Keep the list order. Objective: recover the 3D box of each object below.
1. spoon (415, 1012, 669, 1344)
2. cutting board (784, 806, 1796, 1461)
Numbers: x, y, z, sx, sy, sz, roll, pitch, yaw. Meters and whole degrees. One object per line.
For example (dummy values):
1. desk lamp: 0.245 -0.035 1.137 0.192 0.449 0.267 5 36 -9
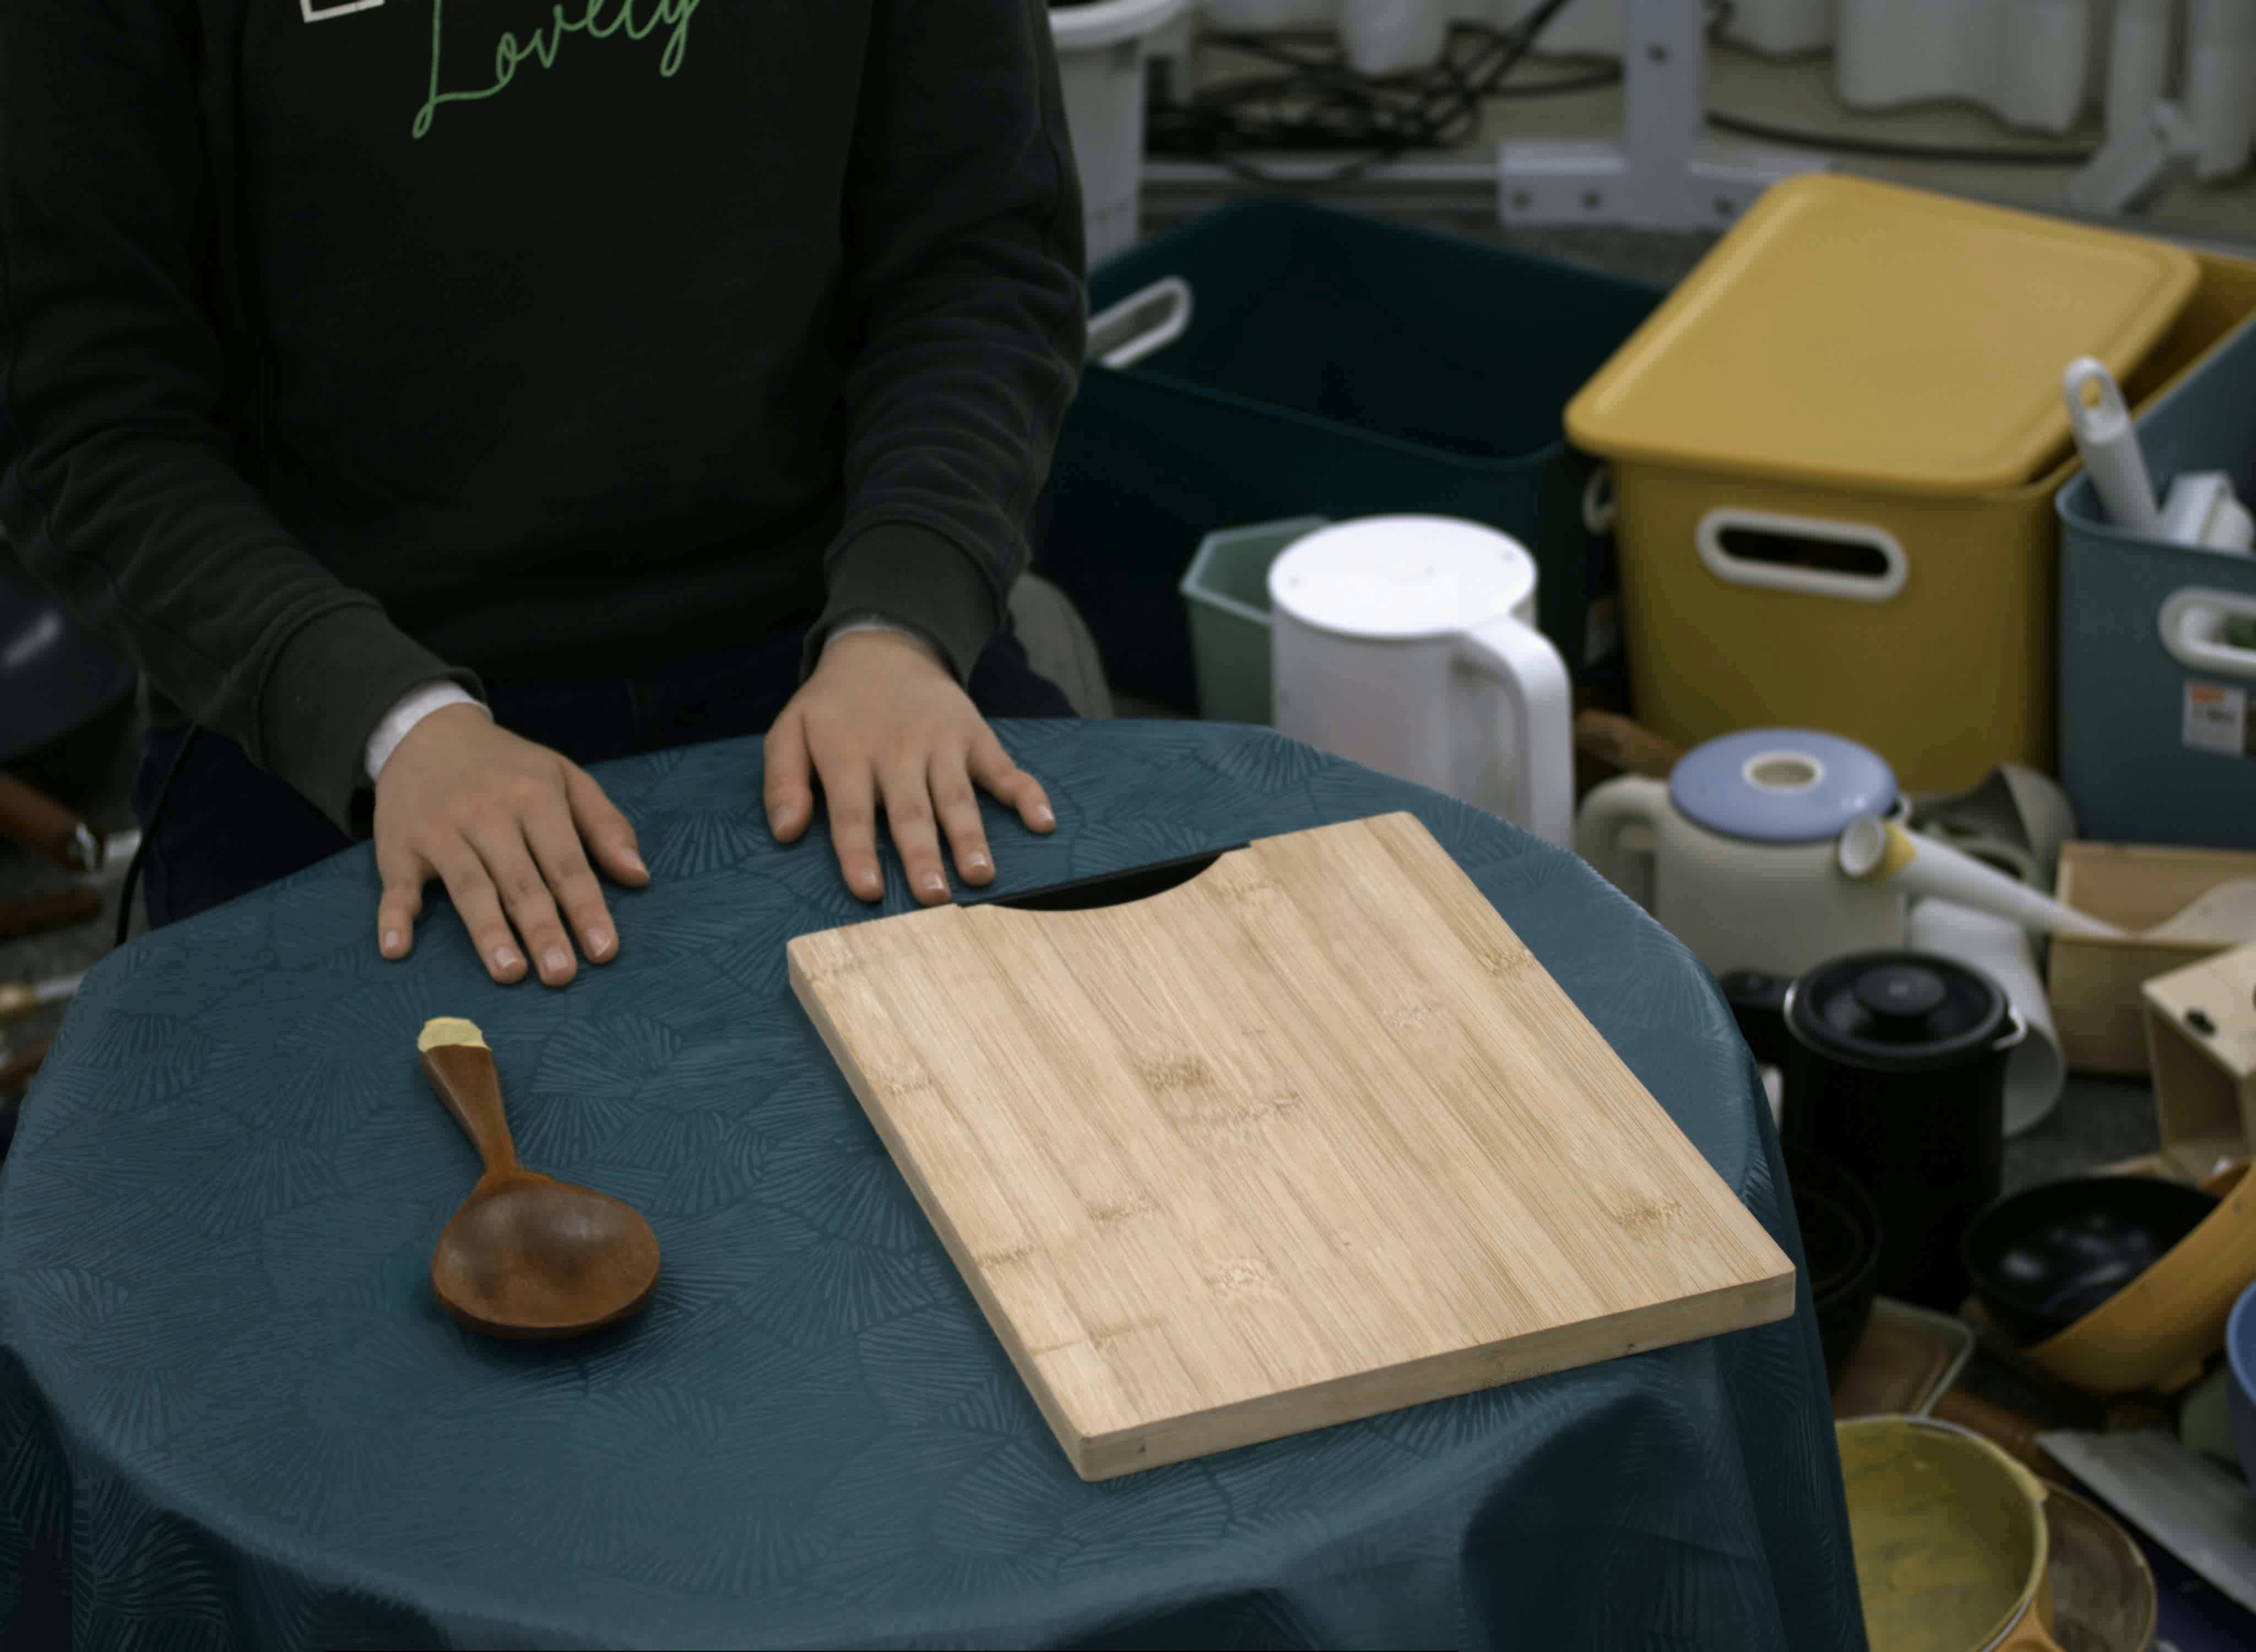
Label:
1. spoon: -0.205 0.118 1.870 0.075 0.017 0.218 -11 29 -14
2. cutting board: 0.044 0.096 1.889 0.251 0.023 0.351 -11 28 -16
